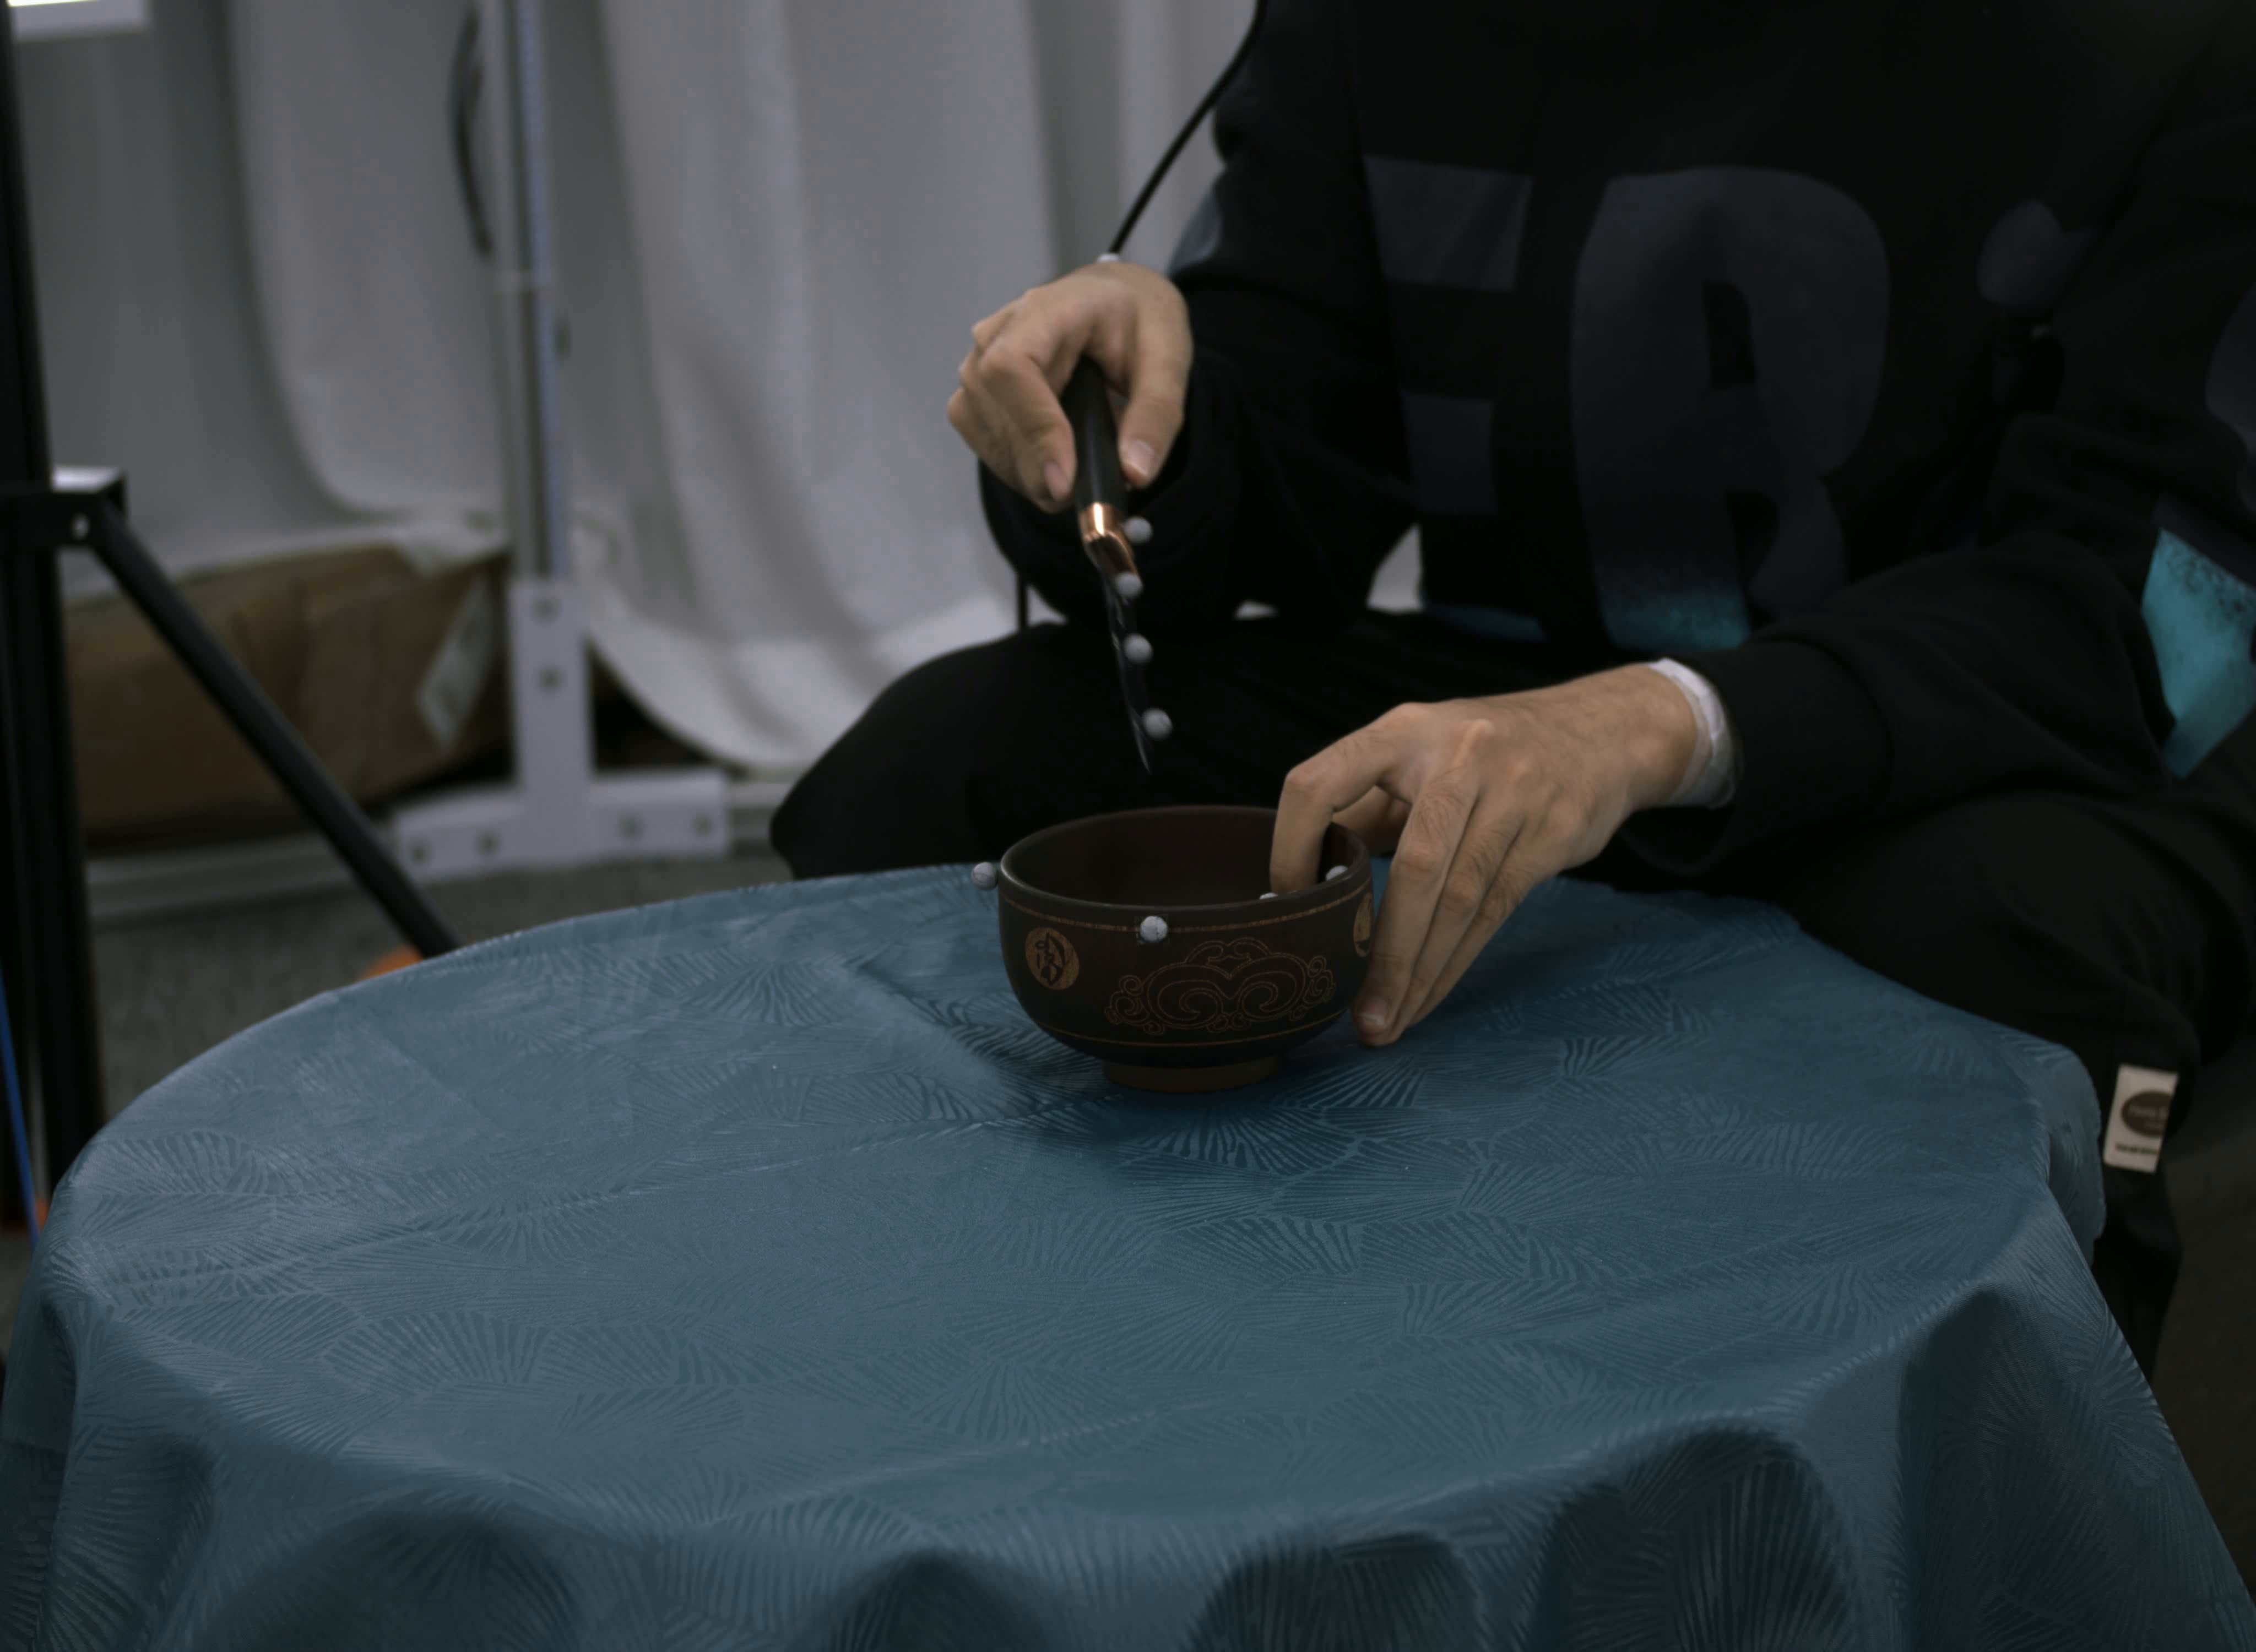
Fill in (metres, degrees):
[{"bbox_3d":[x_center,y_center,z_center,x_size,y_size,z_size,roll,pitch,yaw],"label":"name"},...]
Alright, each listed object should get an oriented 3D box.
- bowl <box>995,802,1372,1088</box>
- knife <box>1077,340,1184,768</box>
[{"bbox_3d":[0.017,0.040,1.657,0.117,0.070,0.118,0,15,-1],"label":"bowl"},{"bbox_3d":[0.001,-0.090,1.709,0.025,0.017,0.228,29,30,-24],"label":"knife"}]
